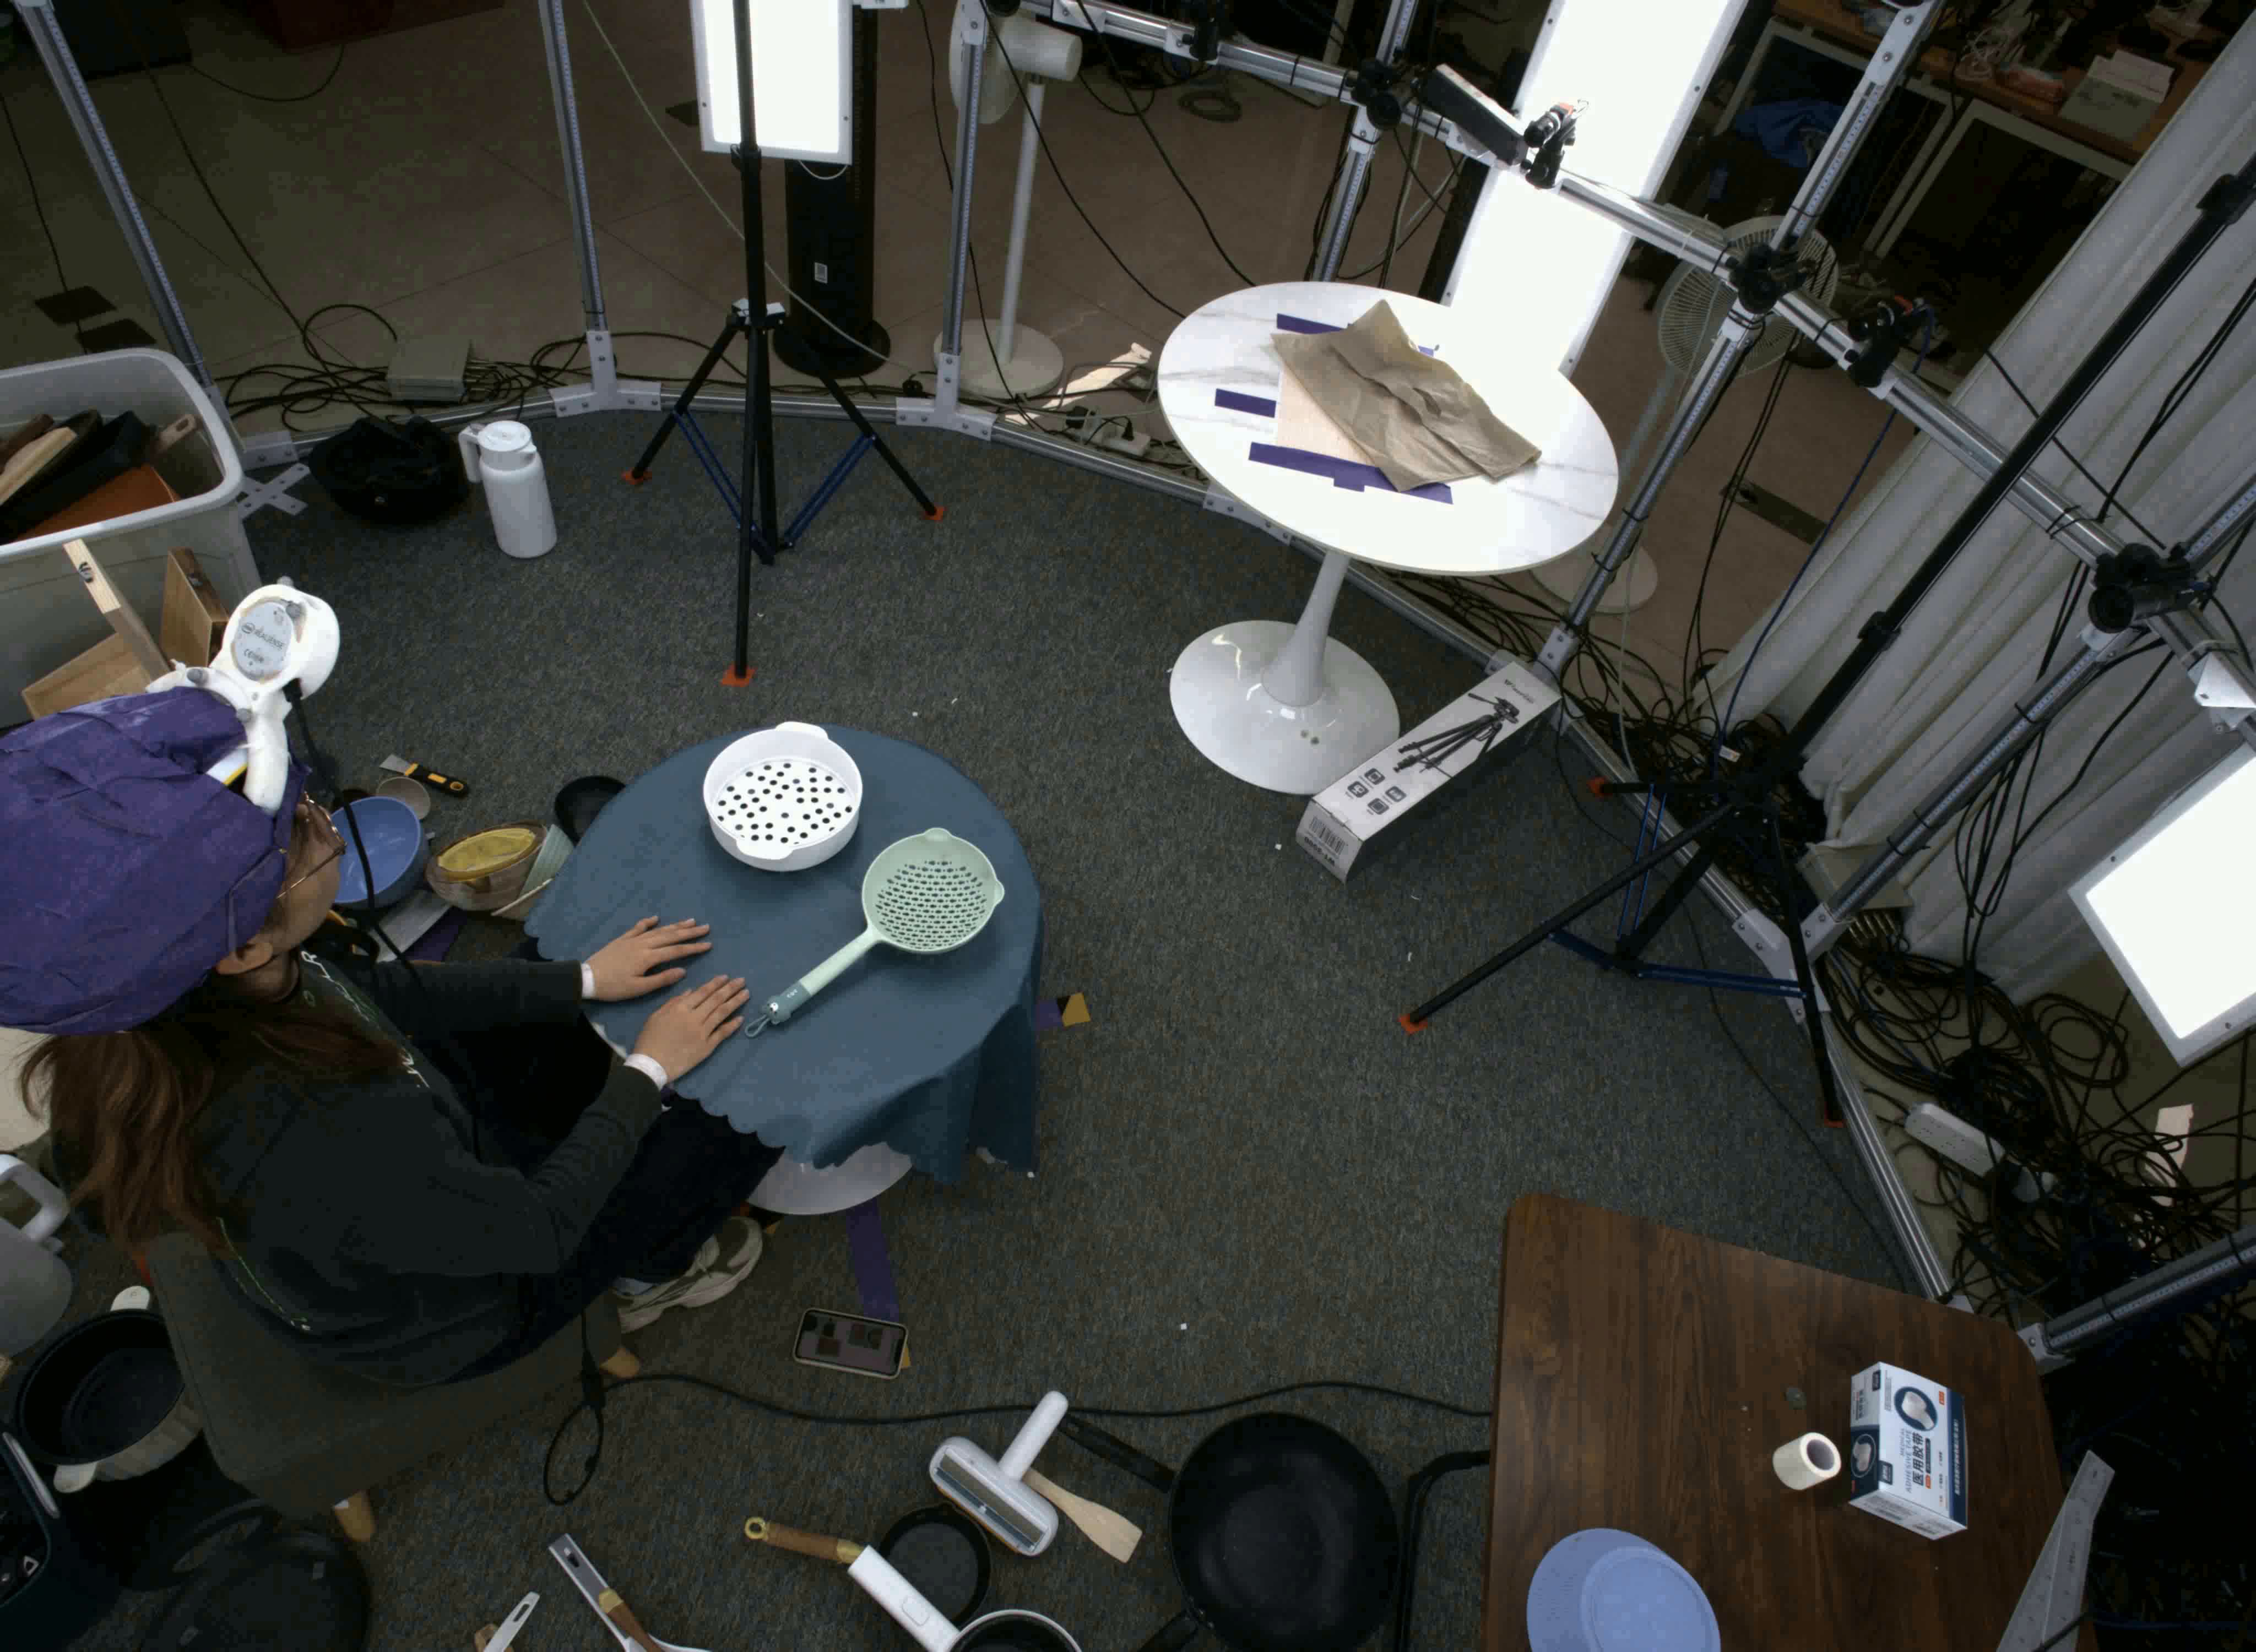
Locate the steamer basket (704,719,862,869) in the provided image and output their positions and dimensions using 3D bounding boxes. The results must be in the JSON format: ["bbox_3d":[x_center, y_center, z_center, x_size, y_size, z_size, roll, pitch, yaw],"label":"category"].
[{"bbox_3d":[-0.452,-0.037,1.707,0.201,0.070,0.227,9,52,-6],"label":"steamer basket"}]

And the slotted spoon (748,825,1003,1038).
[{"bbox_3d":[-0.320,0.139,1.610,0.165,0.077,0.360,43,55,19],"label":"slotted spoon"}]
